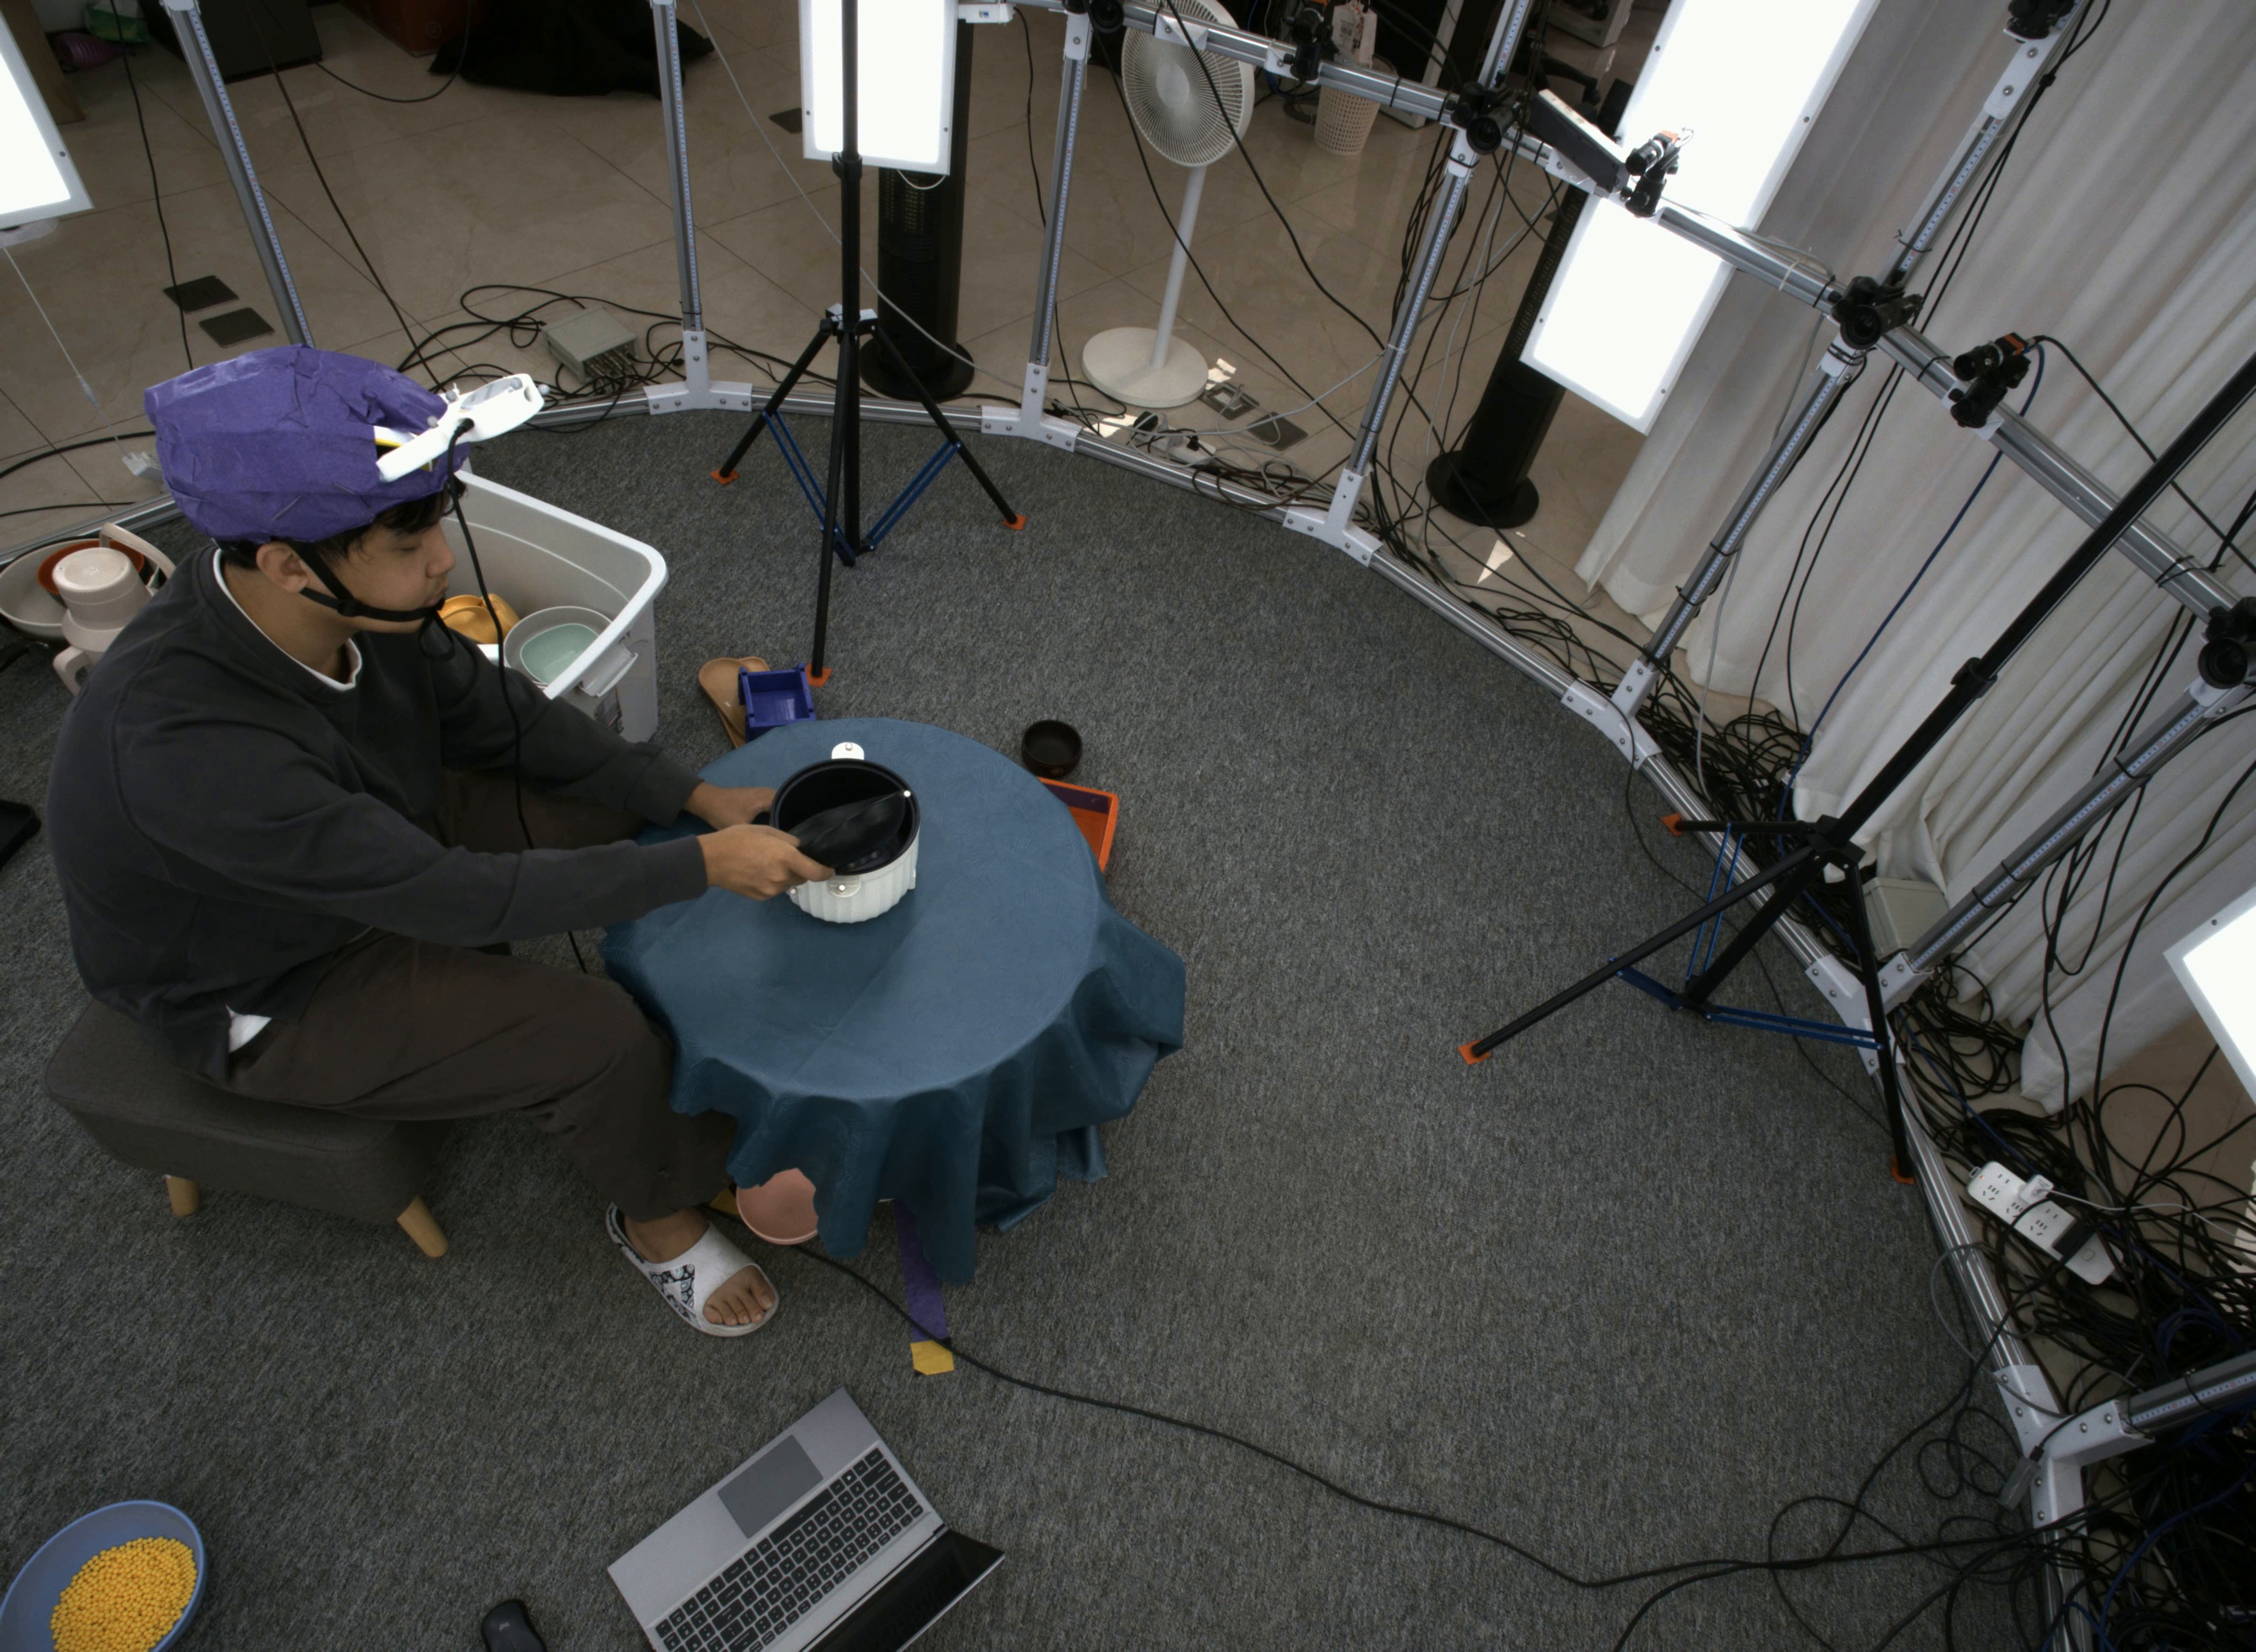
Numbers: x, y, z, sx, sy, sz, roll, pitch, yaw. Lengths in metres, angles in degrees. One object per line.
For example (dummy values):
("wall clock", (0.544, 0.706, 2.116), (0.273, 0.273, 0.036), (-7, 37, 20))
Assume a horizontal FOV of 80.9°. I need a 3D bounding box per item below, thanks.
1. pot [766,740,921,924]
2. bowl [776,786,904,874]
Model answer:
("pot", (-0.358, 0.026, 1.628), (0.191, 0.145, 0.235), (2, 52, -15))
("bowl", (-0.322, 0.010, 1.494), (0.171, 0.134, 0.068), (-36, 108, -51))
